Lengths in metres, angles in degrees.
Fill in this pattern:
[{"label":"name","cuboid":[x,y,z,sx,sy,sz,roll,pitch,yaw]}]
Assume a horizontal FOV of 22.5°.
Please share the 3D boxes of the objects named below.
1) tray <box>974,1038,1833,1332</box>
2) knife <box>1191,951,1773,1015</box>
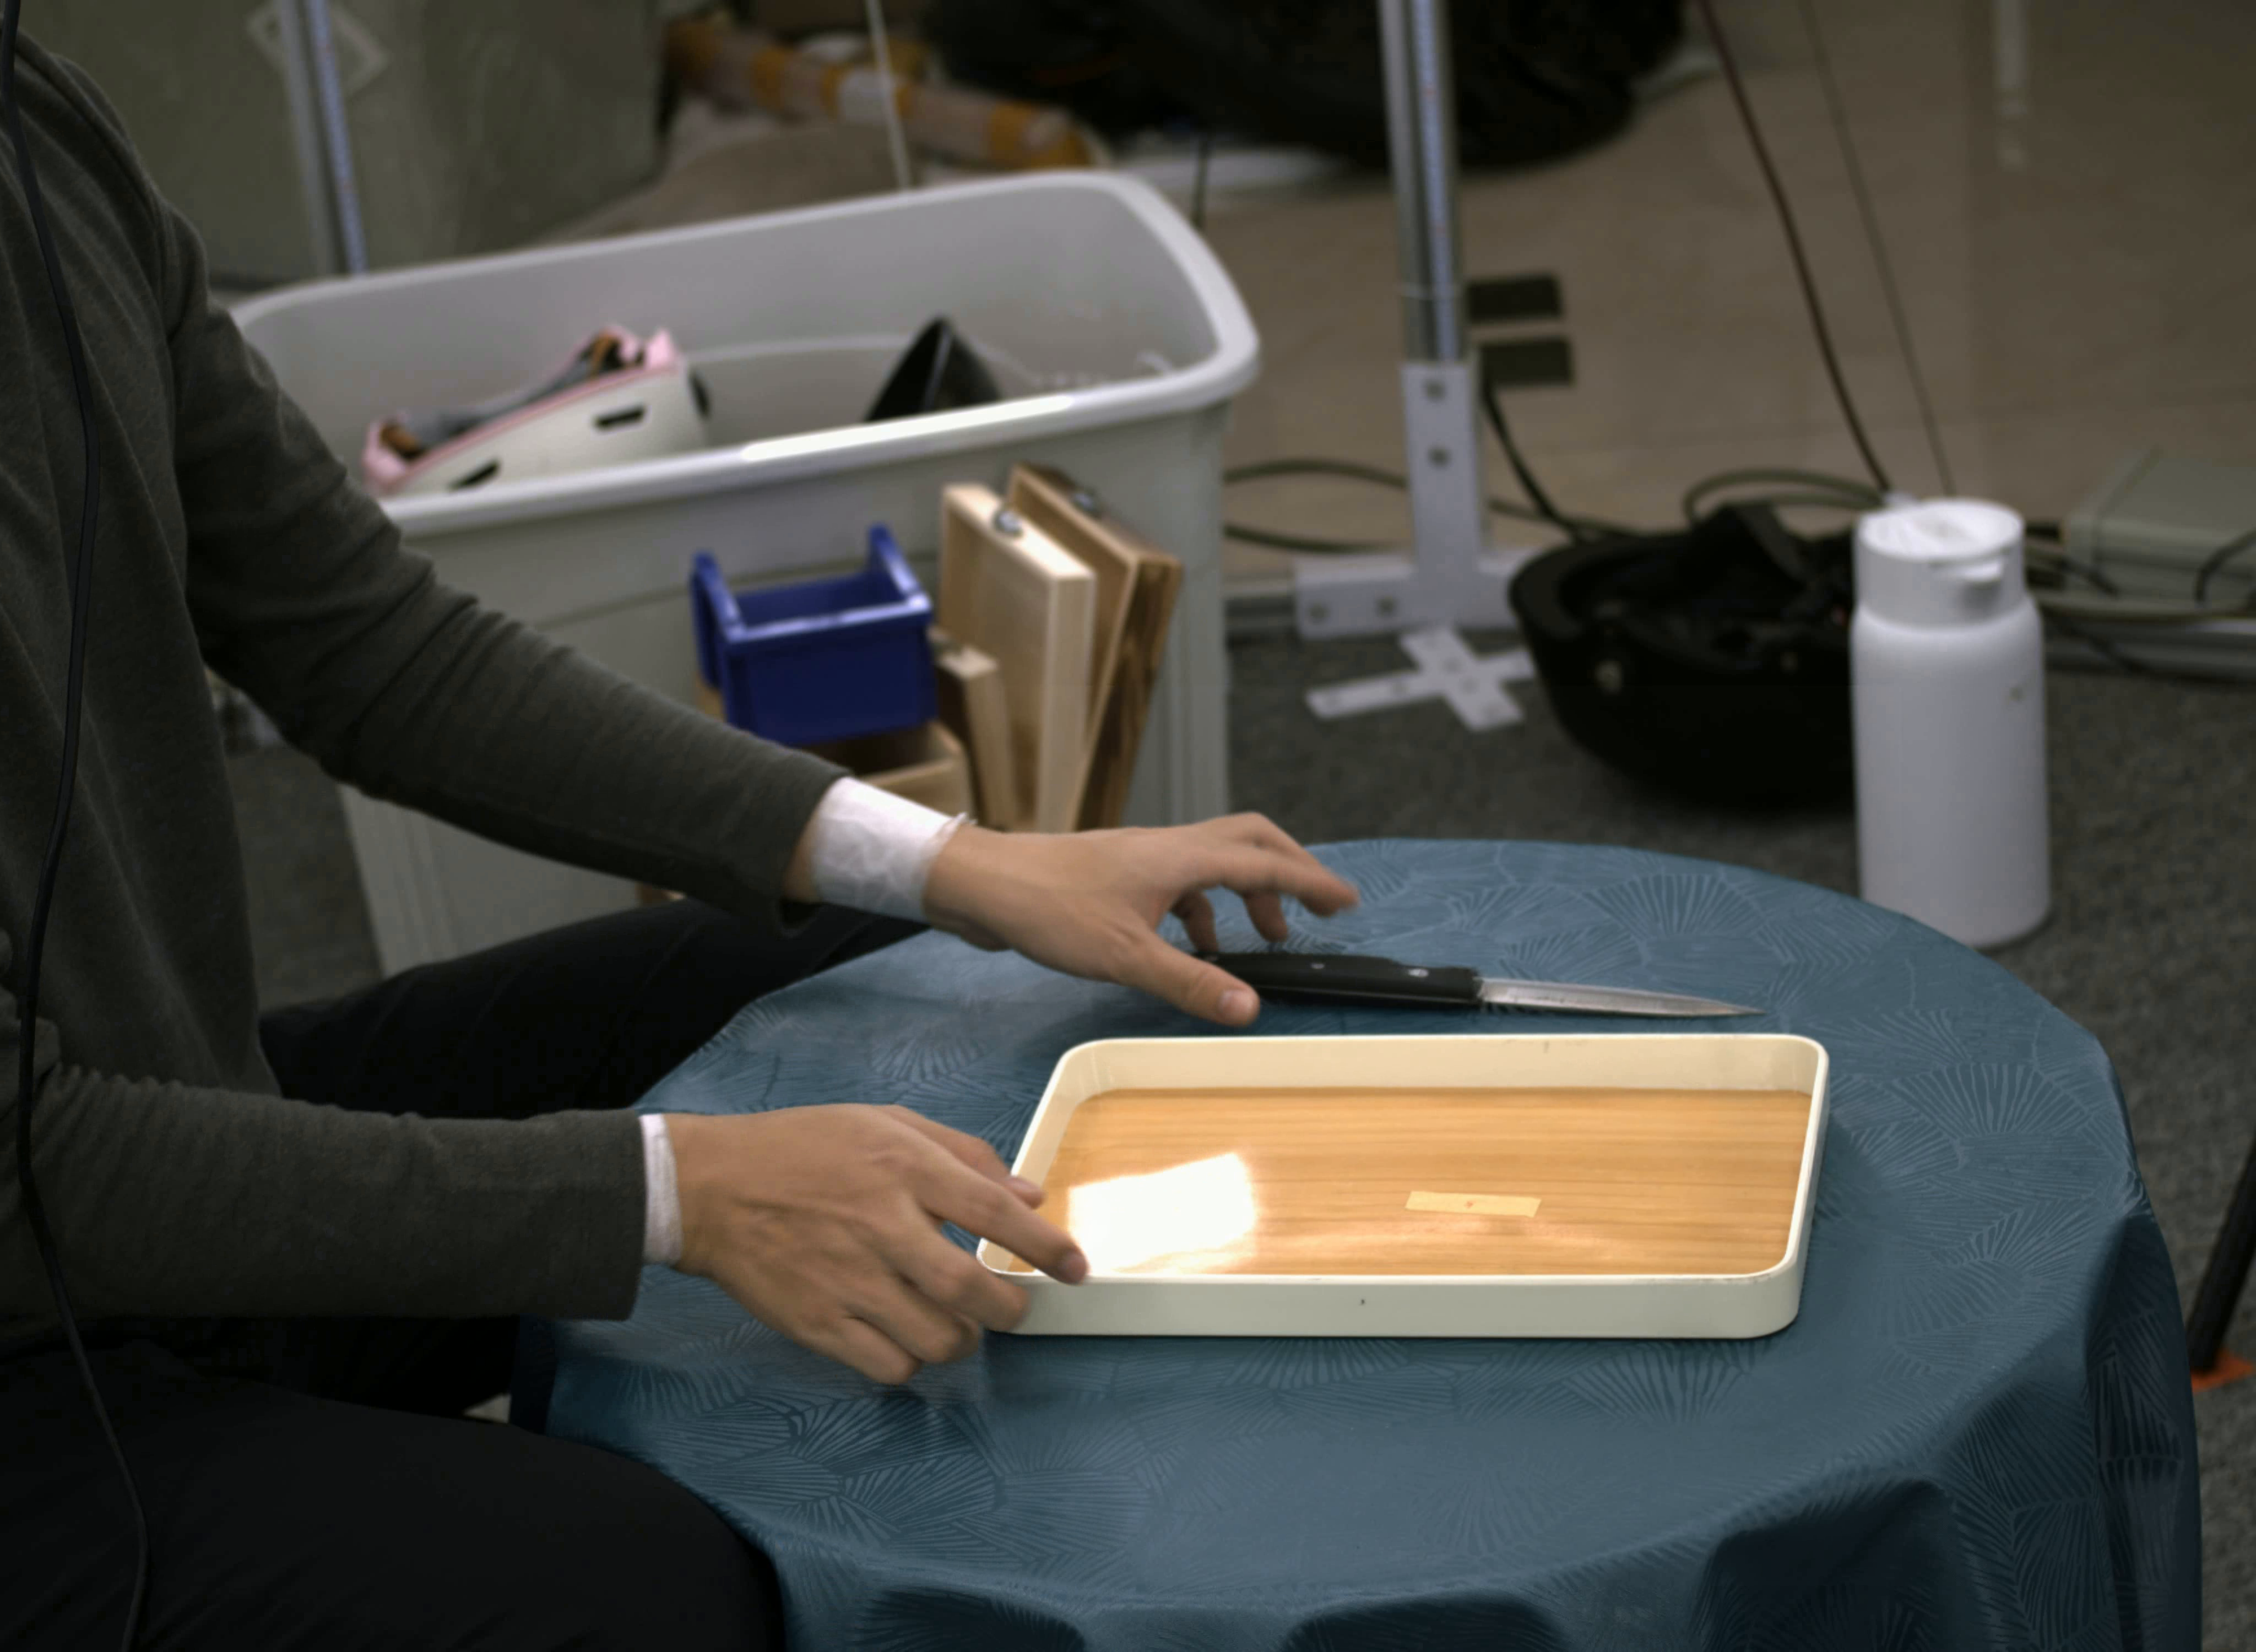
[{"label":"tray","cuboid":[0.105,0.132,2.109,0.300,0.028,0.189,-1,24,13]},{"label":"knife","cuboid":[0.139,0.066,2.262,0.237,0.016,0.024,3,30,15]}]
